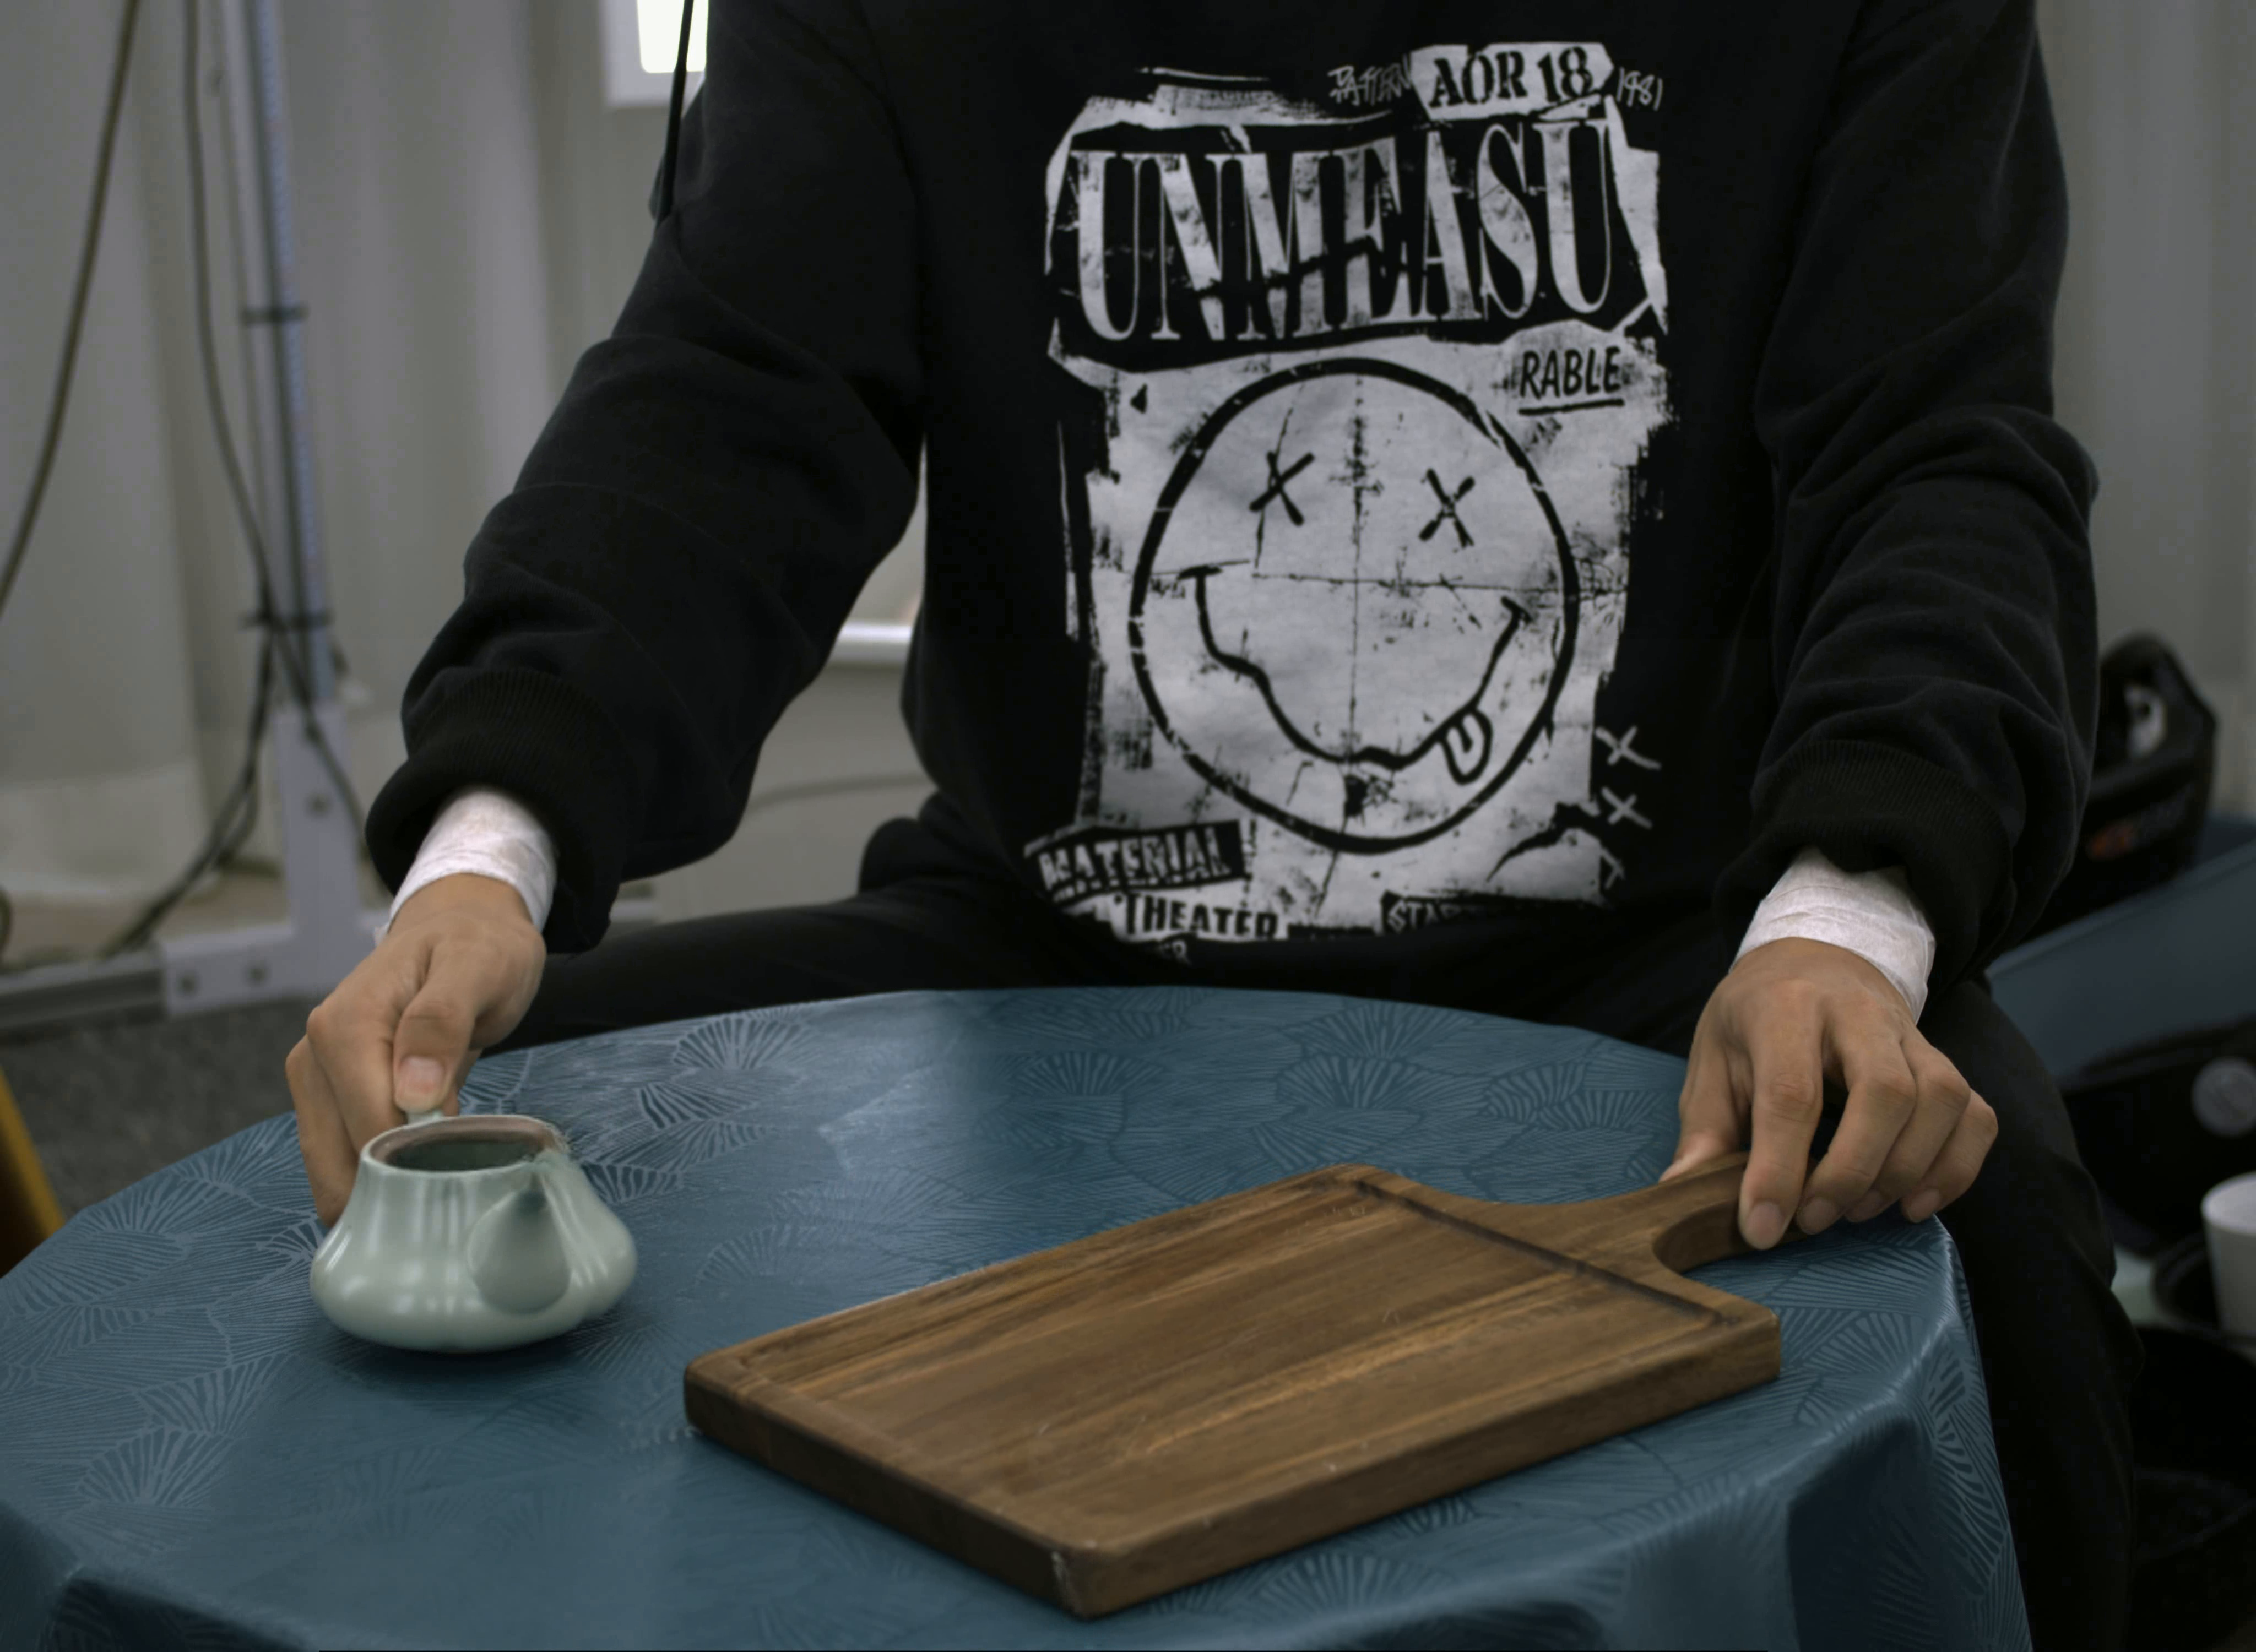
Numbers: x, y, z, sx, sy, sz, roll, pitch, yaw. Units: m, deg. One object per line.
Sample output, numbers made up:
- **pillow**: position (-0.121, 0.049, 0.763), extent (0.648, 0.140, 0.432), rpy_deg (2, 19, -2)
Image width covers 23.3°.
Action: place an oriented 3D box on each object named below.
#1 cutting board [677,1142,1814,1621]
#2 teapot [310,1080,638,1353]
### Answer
- **cutting board**: position (0.067, 0.142, 1.556), extent (0.351, 0.023, 0.202), rpy_deg (-14, 19, -36)
- **teapot**: position (-0.195, 0.118, 1.618), extent (0.096, 0.061, 0.138), rpy_deg (-9, 16, -26)
